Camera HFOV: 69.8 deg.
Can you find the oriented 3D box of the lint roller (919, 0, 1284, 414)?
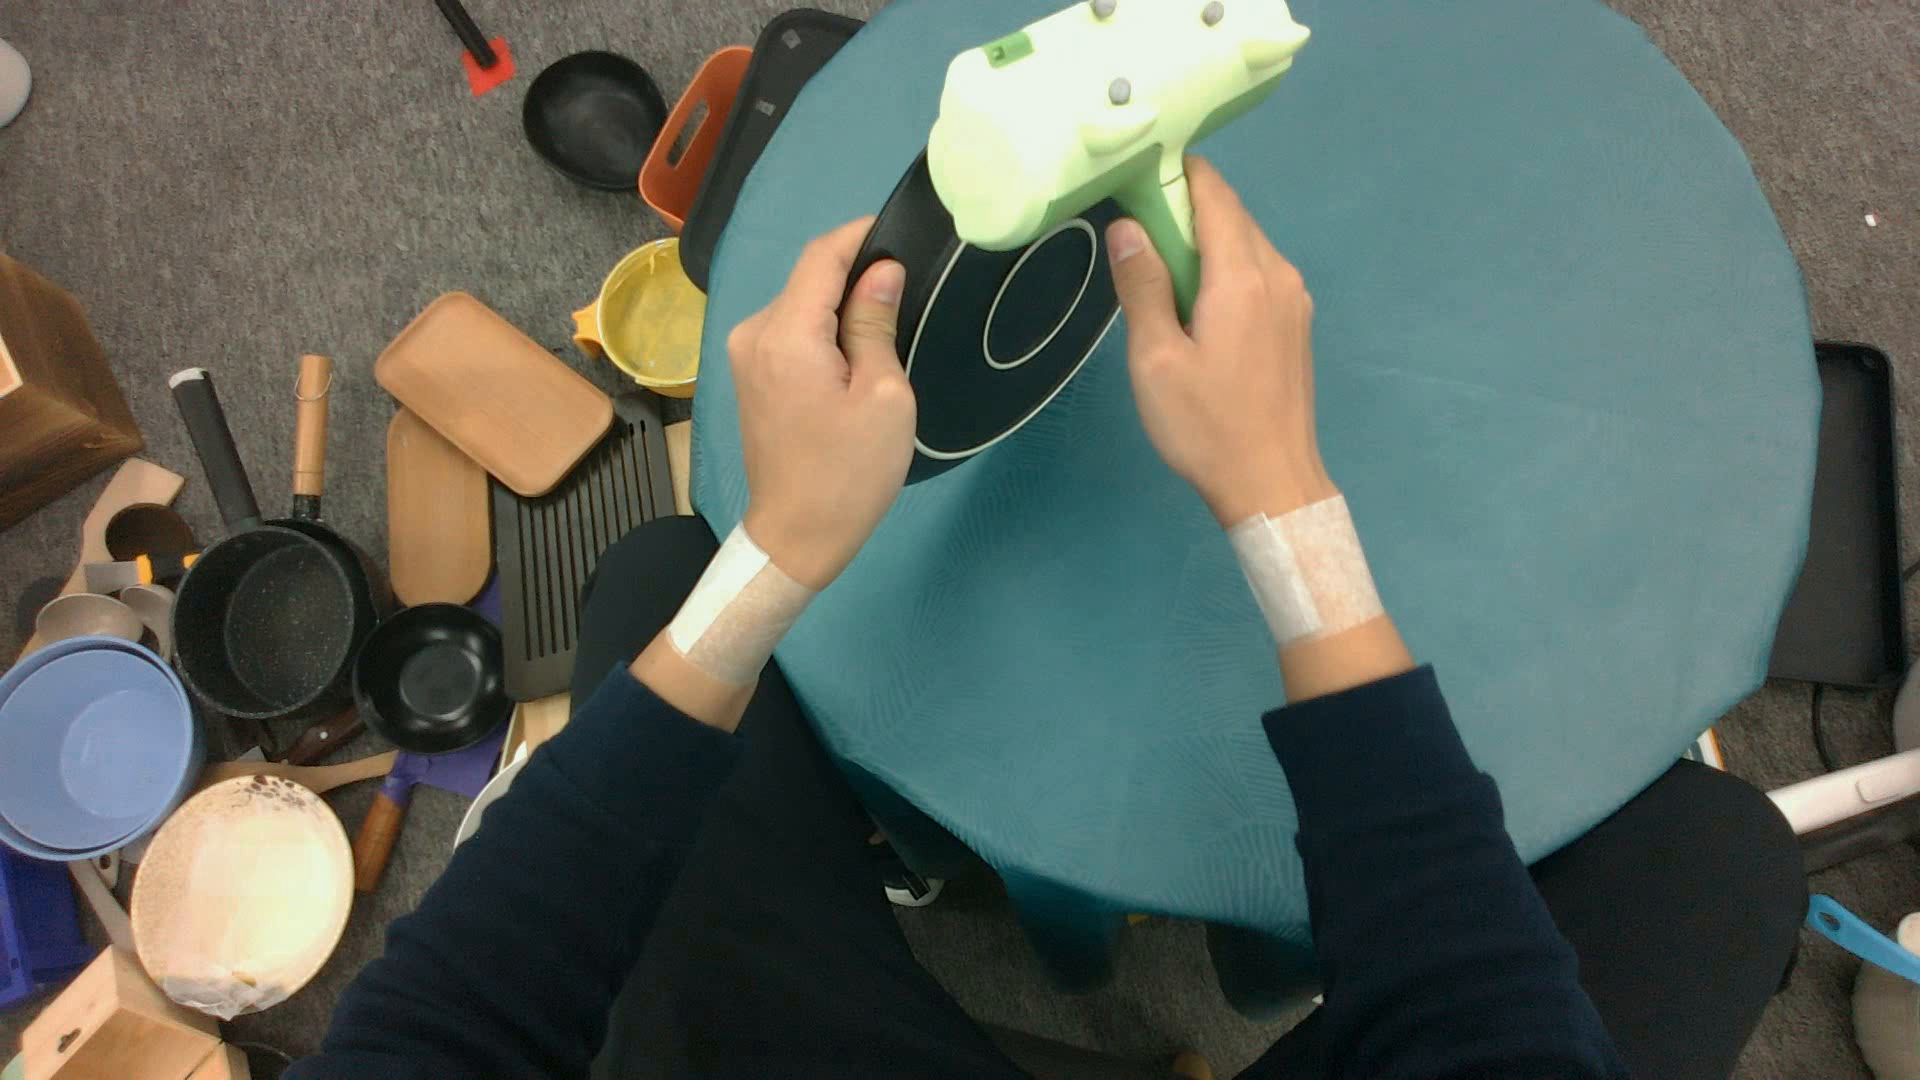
[{"bbox_3d":[0.092,-0.139,0.554,0.199,0.082,0.183,-39,103,-40],"label":"lint roller"}]

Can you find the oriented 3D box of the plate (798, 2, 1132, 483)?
[{"bbox_3d":[0.019,-0.125,0.636,0.023,0.244,0.245,36,80,22],"label":"plate"}]
